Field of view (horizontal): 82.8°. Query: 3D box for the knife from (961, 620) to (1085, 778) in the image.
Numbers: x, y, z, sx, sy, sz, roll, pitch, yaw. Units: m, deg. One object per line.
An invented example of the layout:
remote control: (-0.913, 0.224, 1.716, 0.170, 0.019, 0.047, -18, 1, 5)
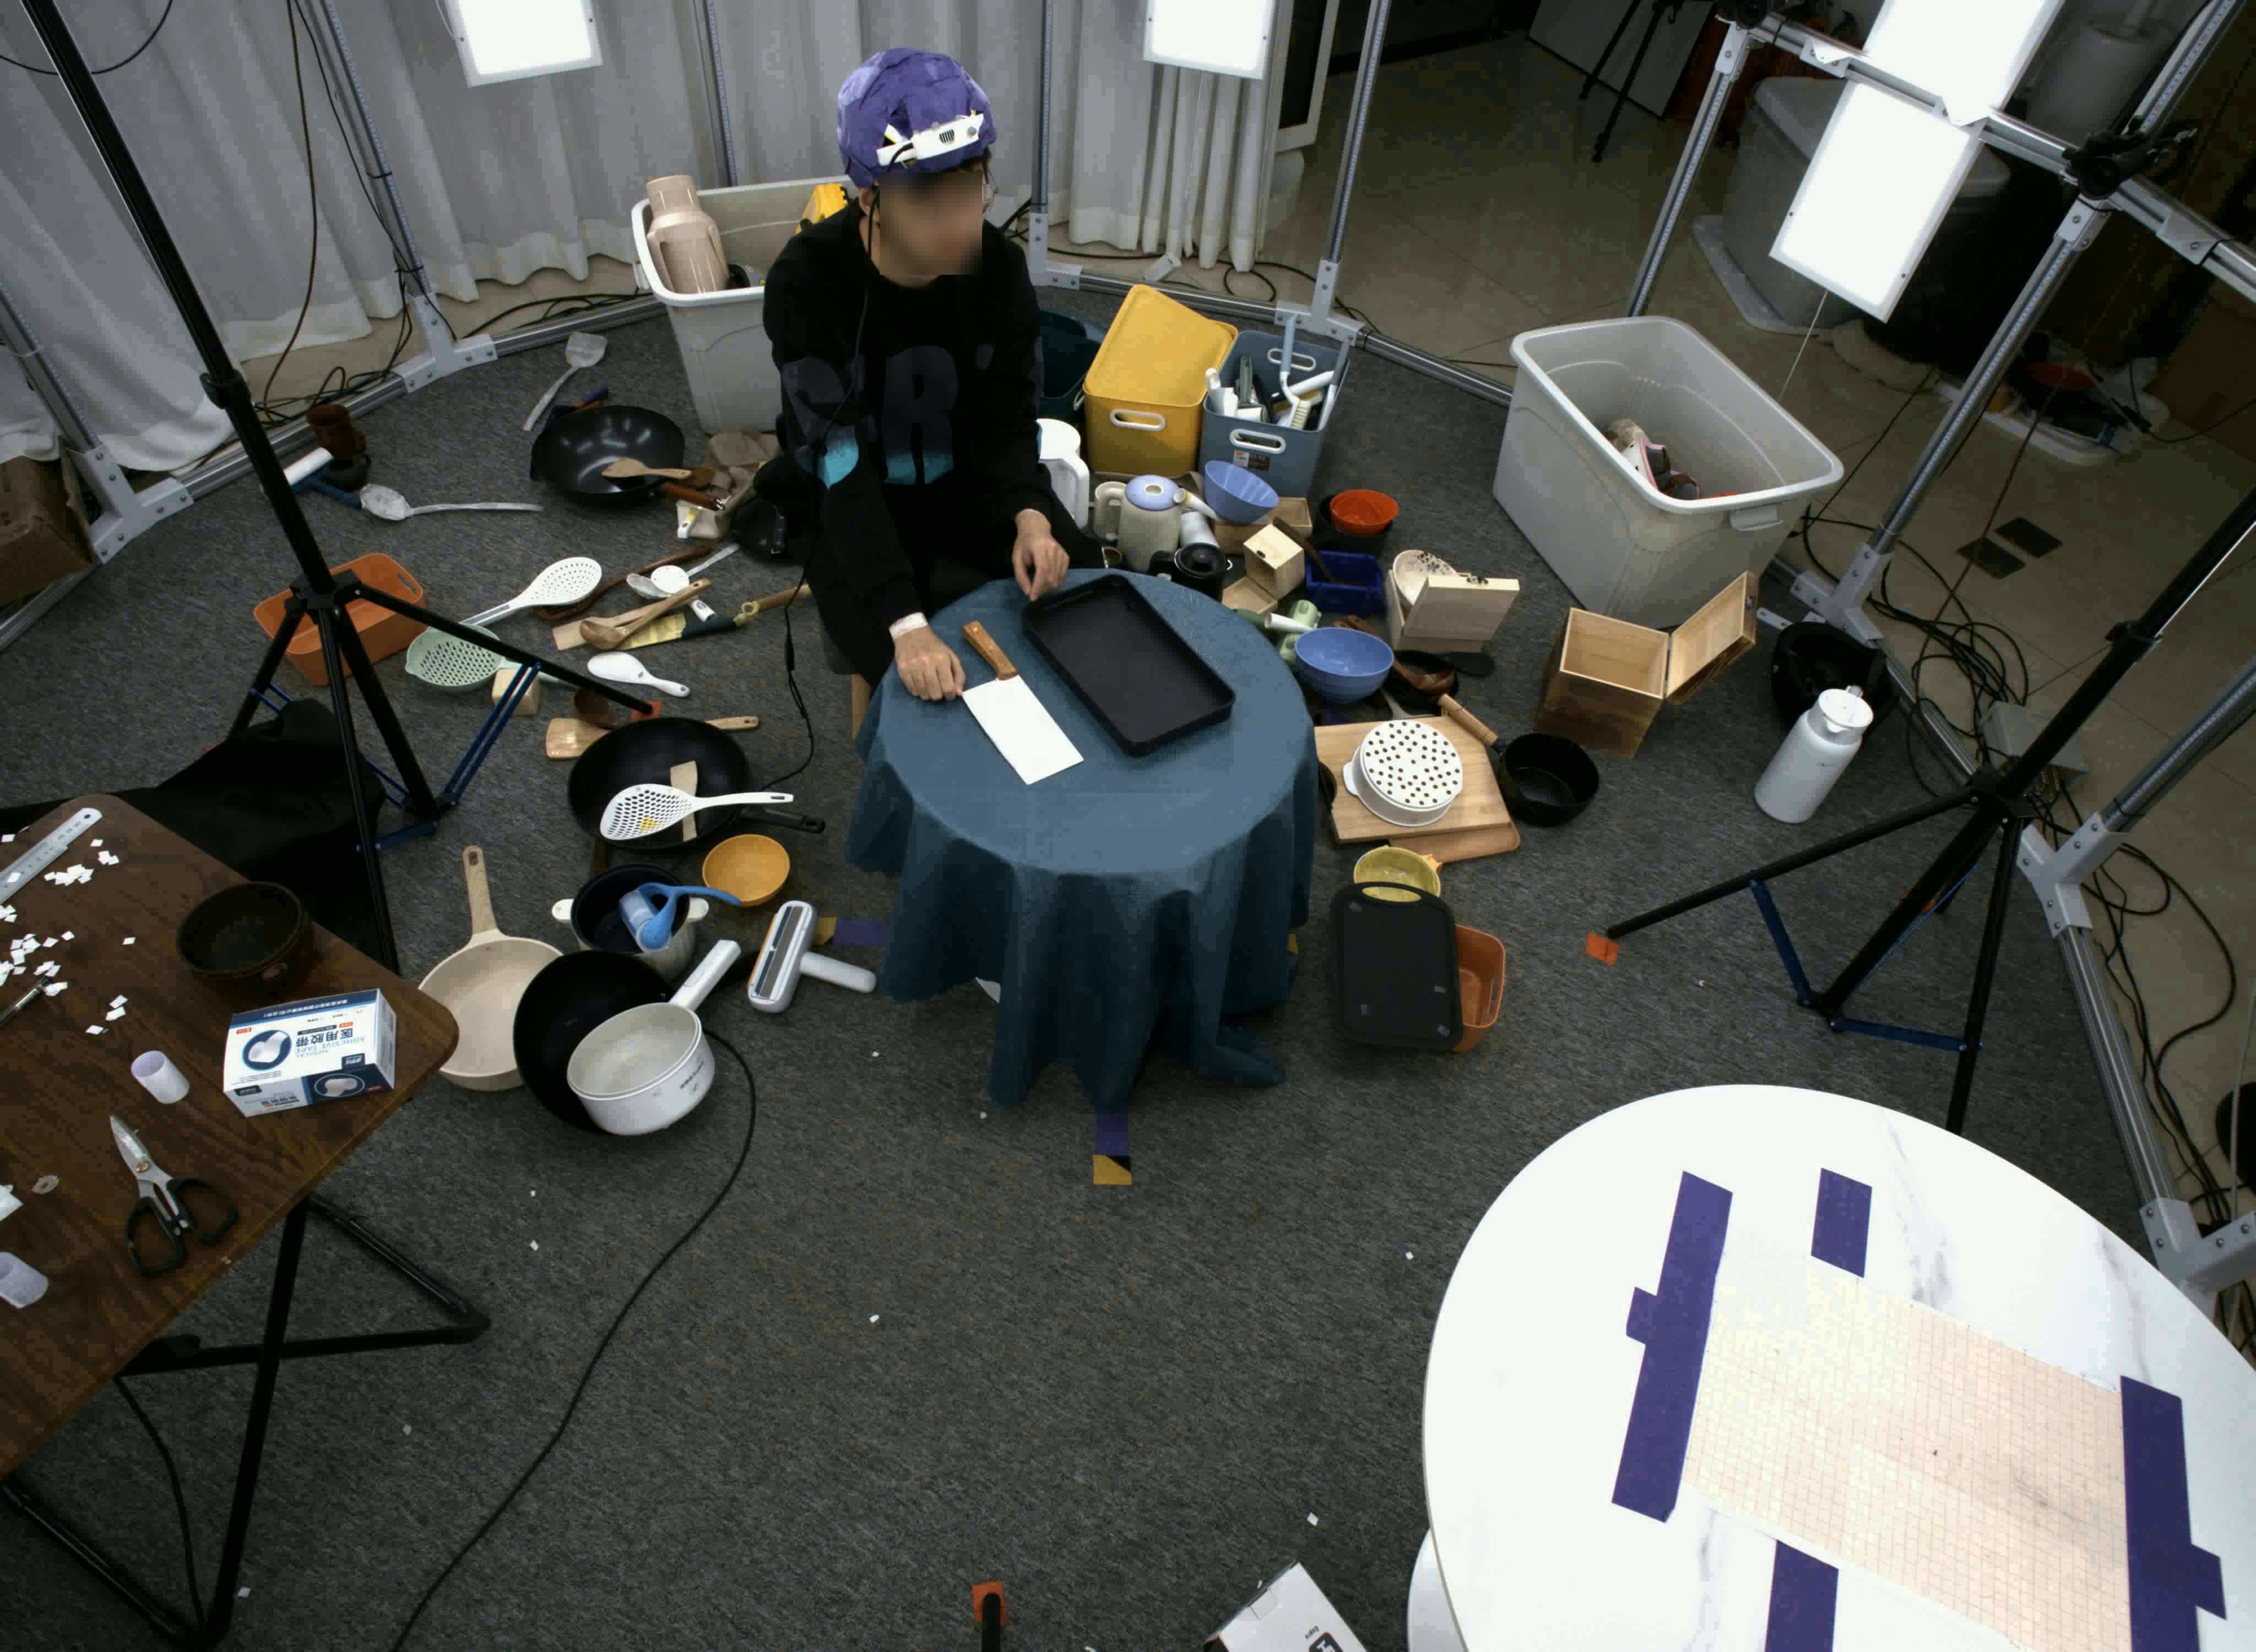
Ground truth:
knife: (-0.172, -0.178, 1.802, 0.093, 0.020, 0.312, -24, 57, -21)

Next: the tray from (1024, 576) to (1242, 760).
tray: (0.003, -0.233, 1.848, 0.185, 0.036, 0.324, -26, 55, -23)
